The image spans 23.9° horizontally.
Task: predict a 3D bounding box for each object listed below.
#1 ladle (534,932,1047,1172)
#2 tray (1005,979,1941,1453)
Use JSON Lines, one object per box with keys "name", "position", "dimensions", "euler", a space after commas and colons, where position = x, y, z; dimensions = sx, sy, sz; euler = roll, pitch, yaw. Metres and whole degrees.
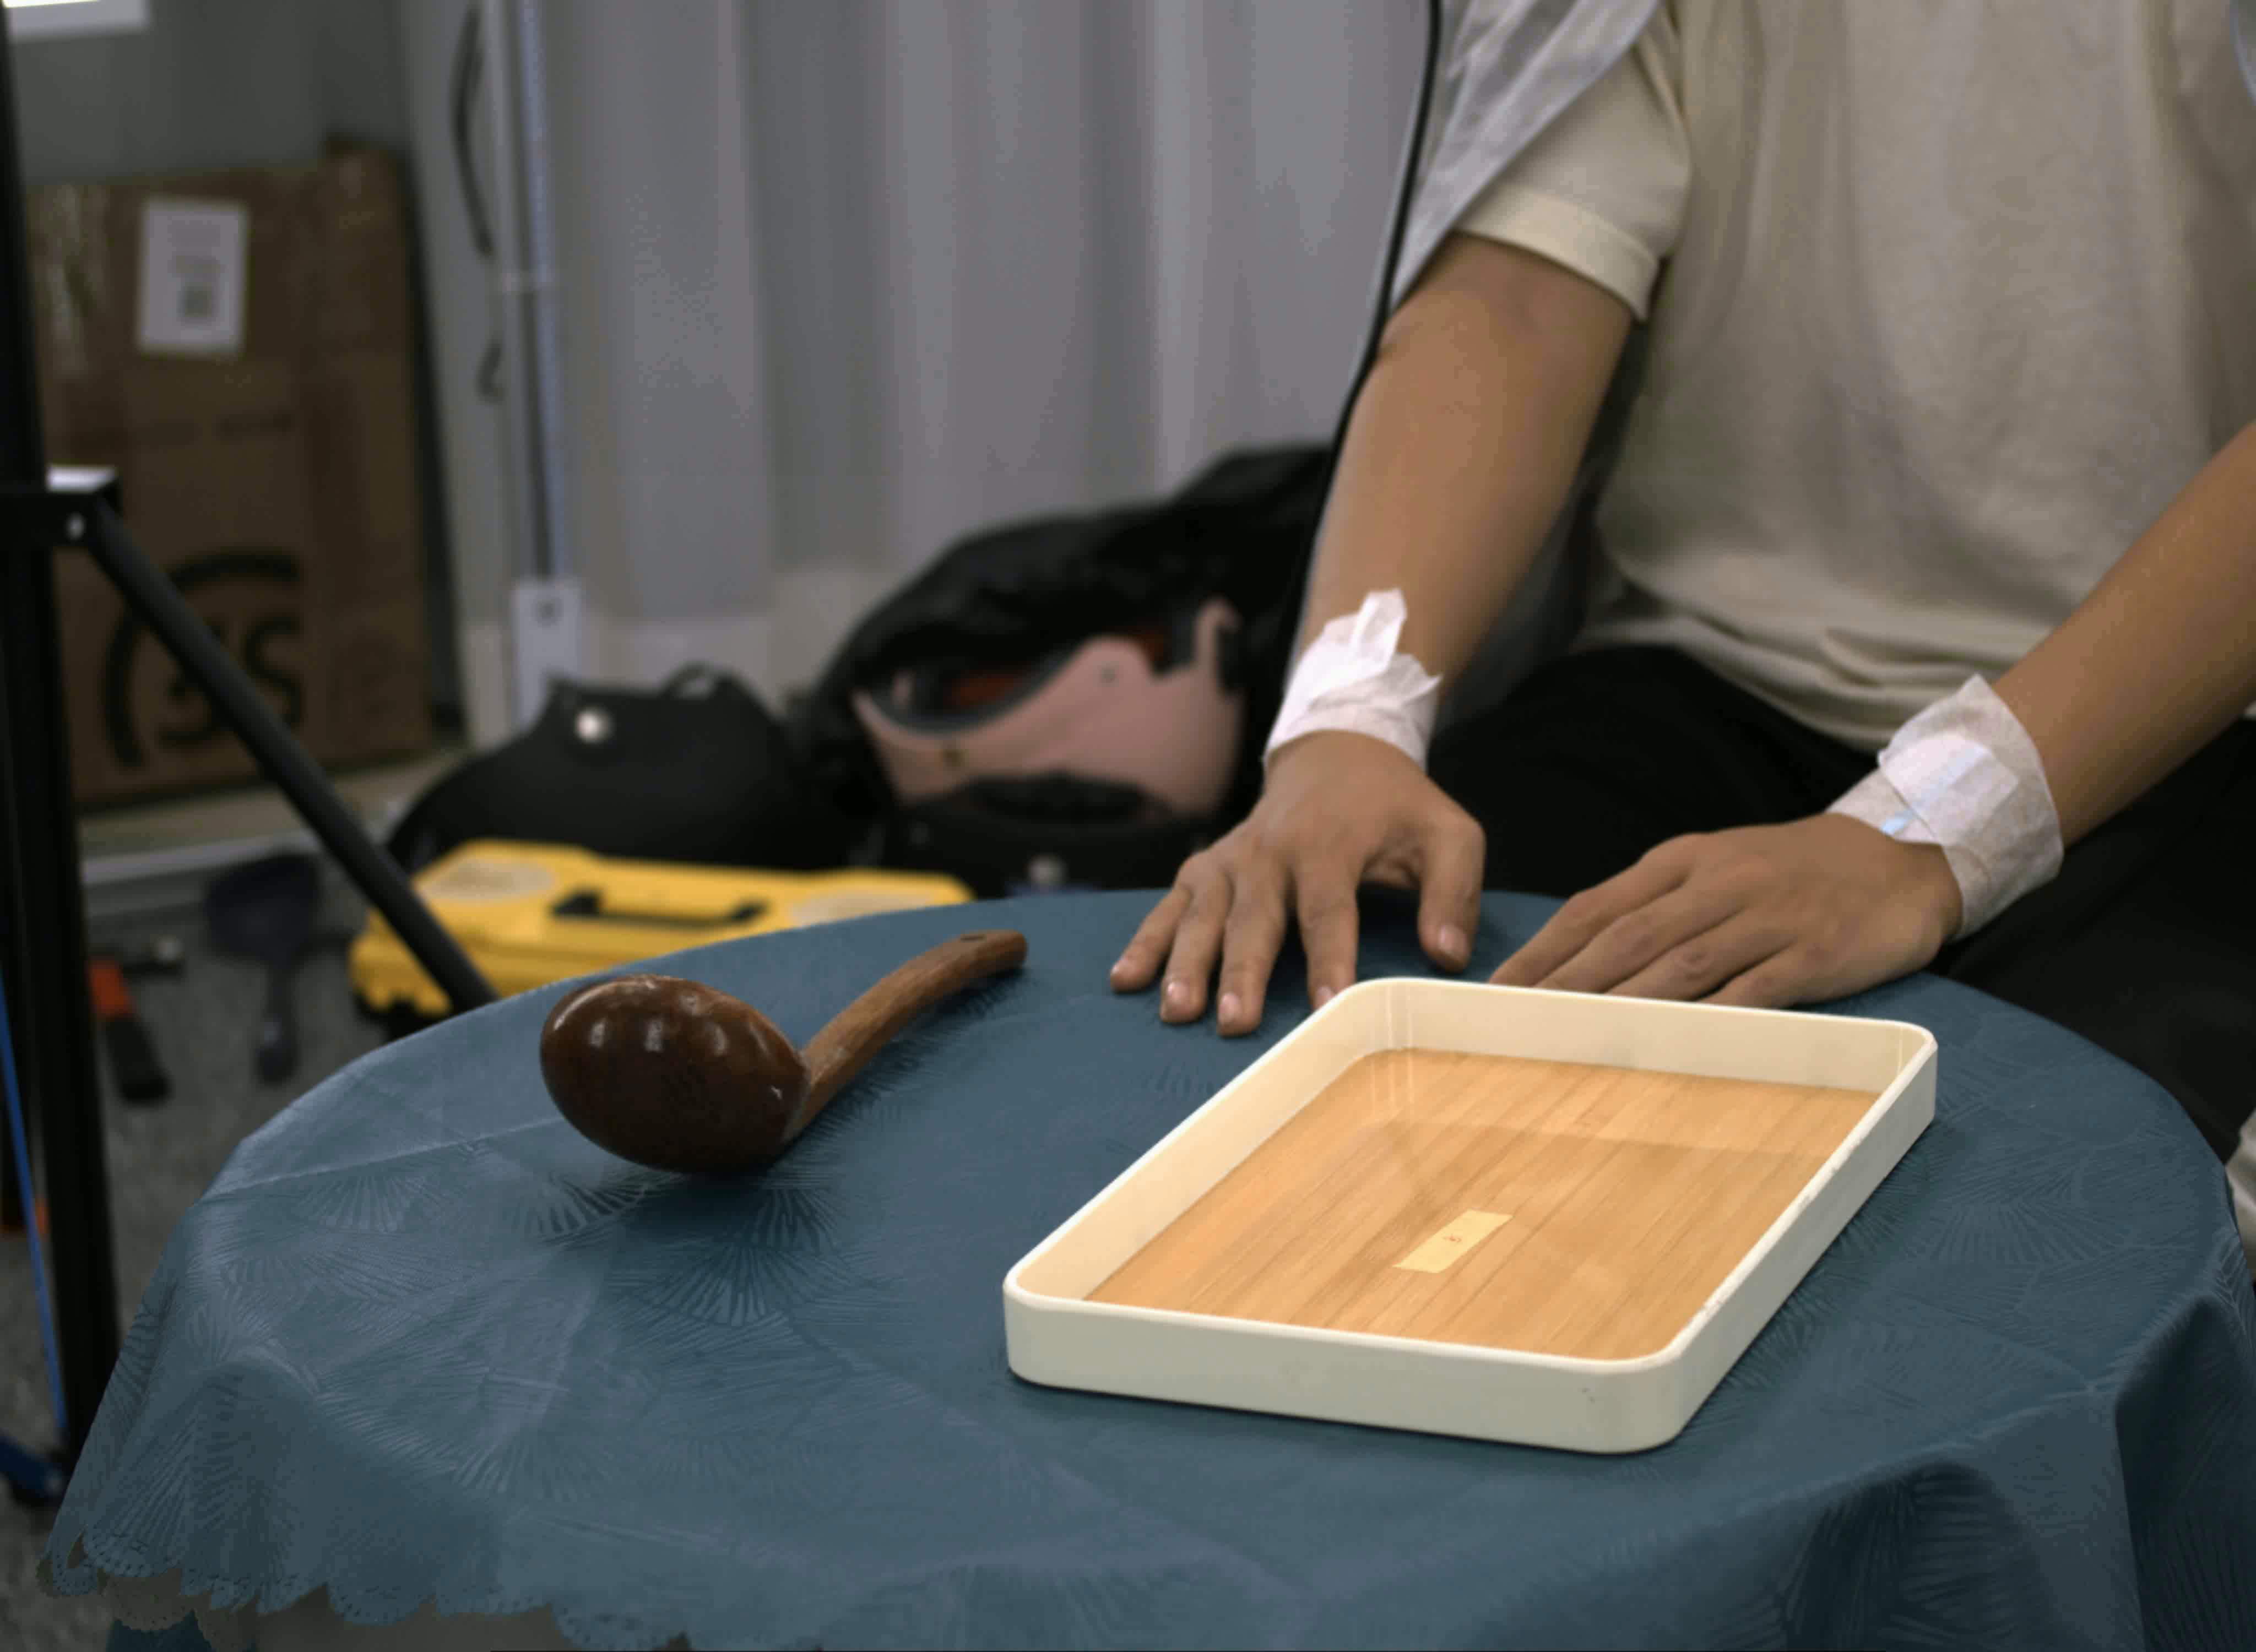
{"name": "ladle", "position": [-0.095, 0.045, 1.654], "dimensions": [0.083, 0.076, 0.270], "euler": [0, 15, 24]}
{"name": "tray", "position": [0.106, 0.104, 1.500], "dimensions": [0.194, 0.027, 0.296], "euler": [4, 17, 23]}
